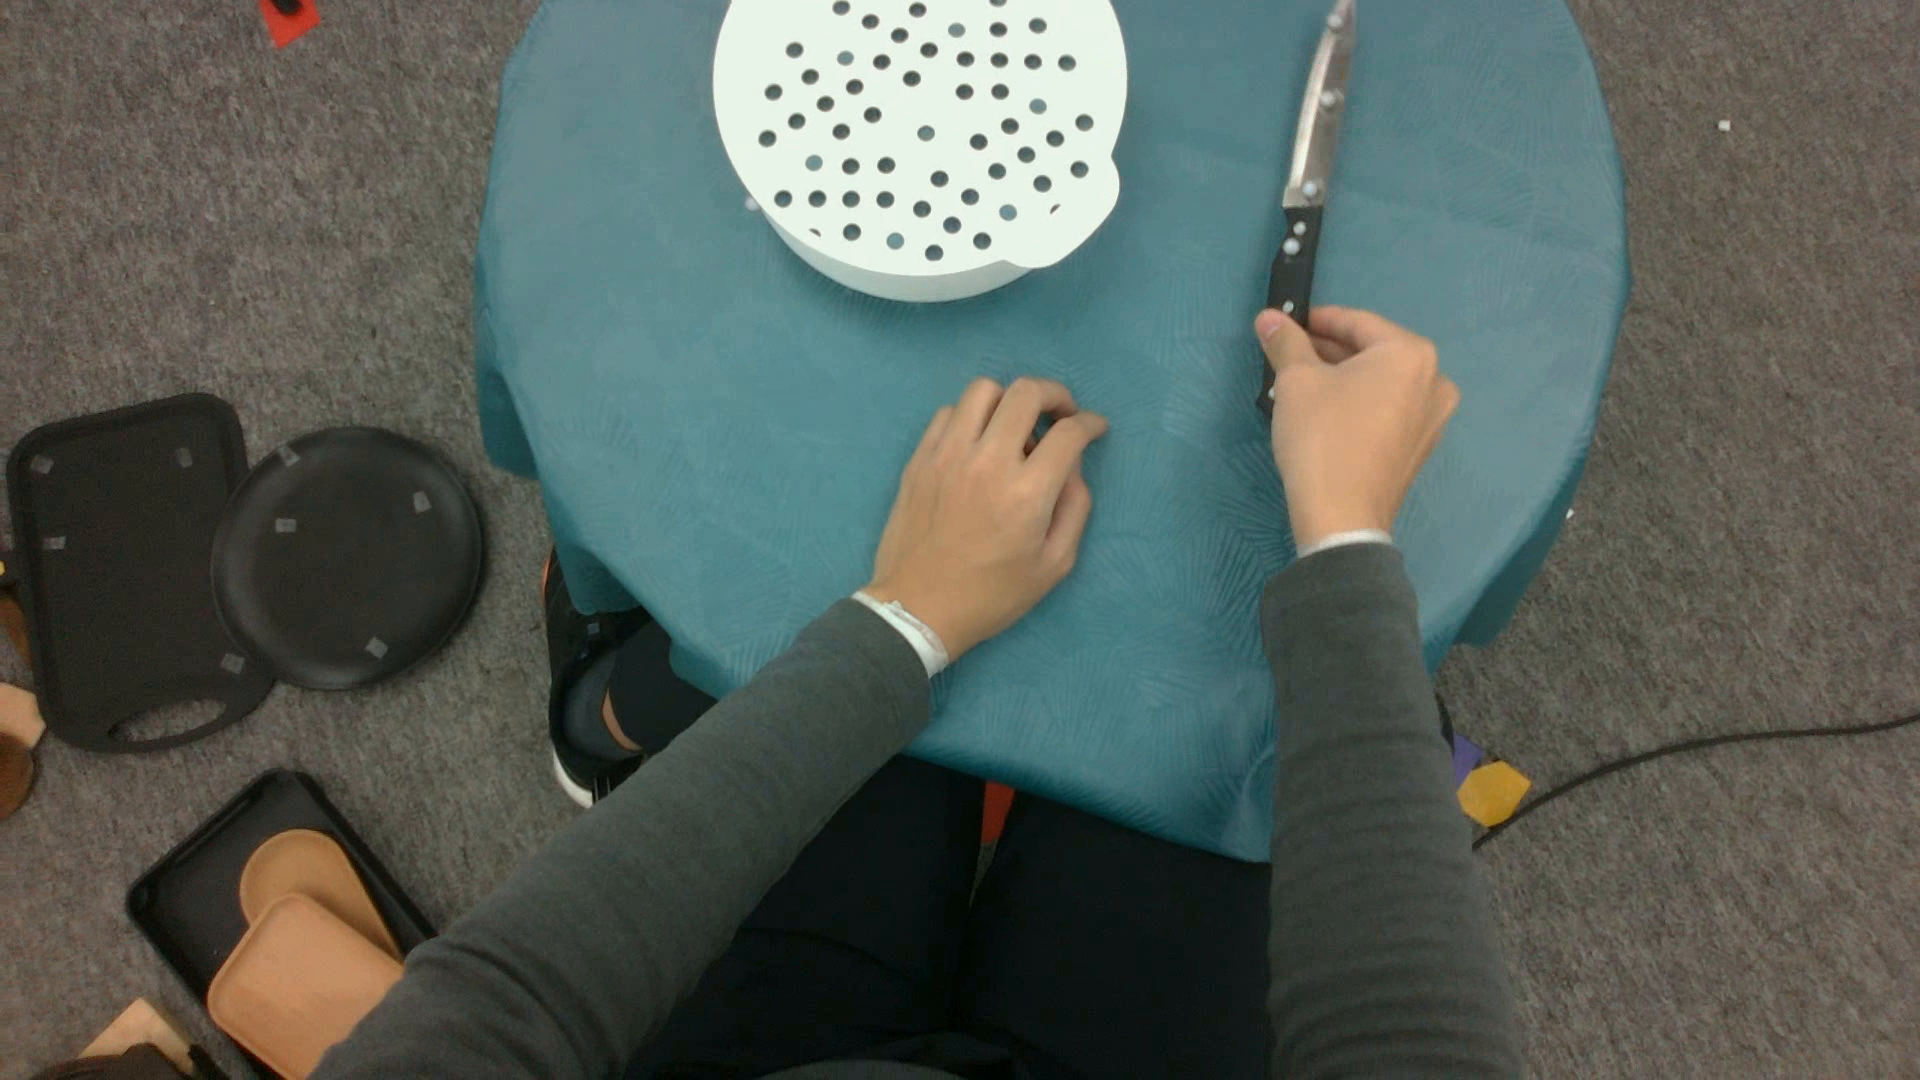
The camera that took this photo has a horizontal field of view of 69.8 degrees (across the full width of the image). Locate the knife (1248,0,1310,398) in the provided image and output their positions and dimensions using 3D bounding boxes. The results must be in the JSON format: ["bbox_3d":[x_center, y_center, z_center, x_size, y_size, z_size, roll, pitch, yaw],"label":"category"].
[{"bbox_3d":[0.167,-0.188,0.708,0.024,0.016,0.238,0,78,29],"label":"knife"}]

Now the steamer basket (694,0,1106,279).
[{"bbox_3d":[-0.029,-0.233,0.698,0.202,0.069,0.230,-44,84,-6],"label":"steamer basket"}]
